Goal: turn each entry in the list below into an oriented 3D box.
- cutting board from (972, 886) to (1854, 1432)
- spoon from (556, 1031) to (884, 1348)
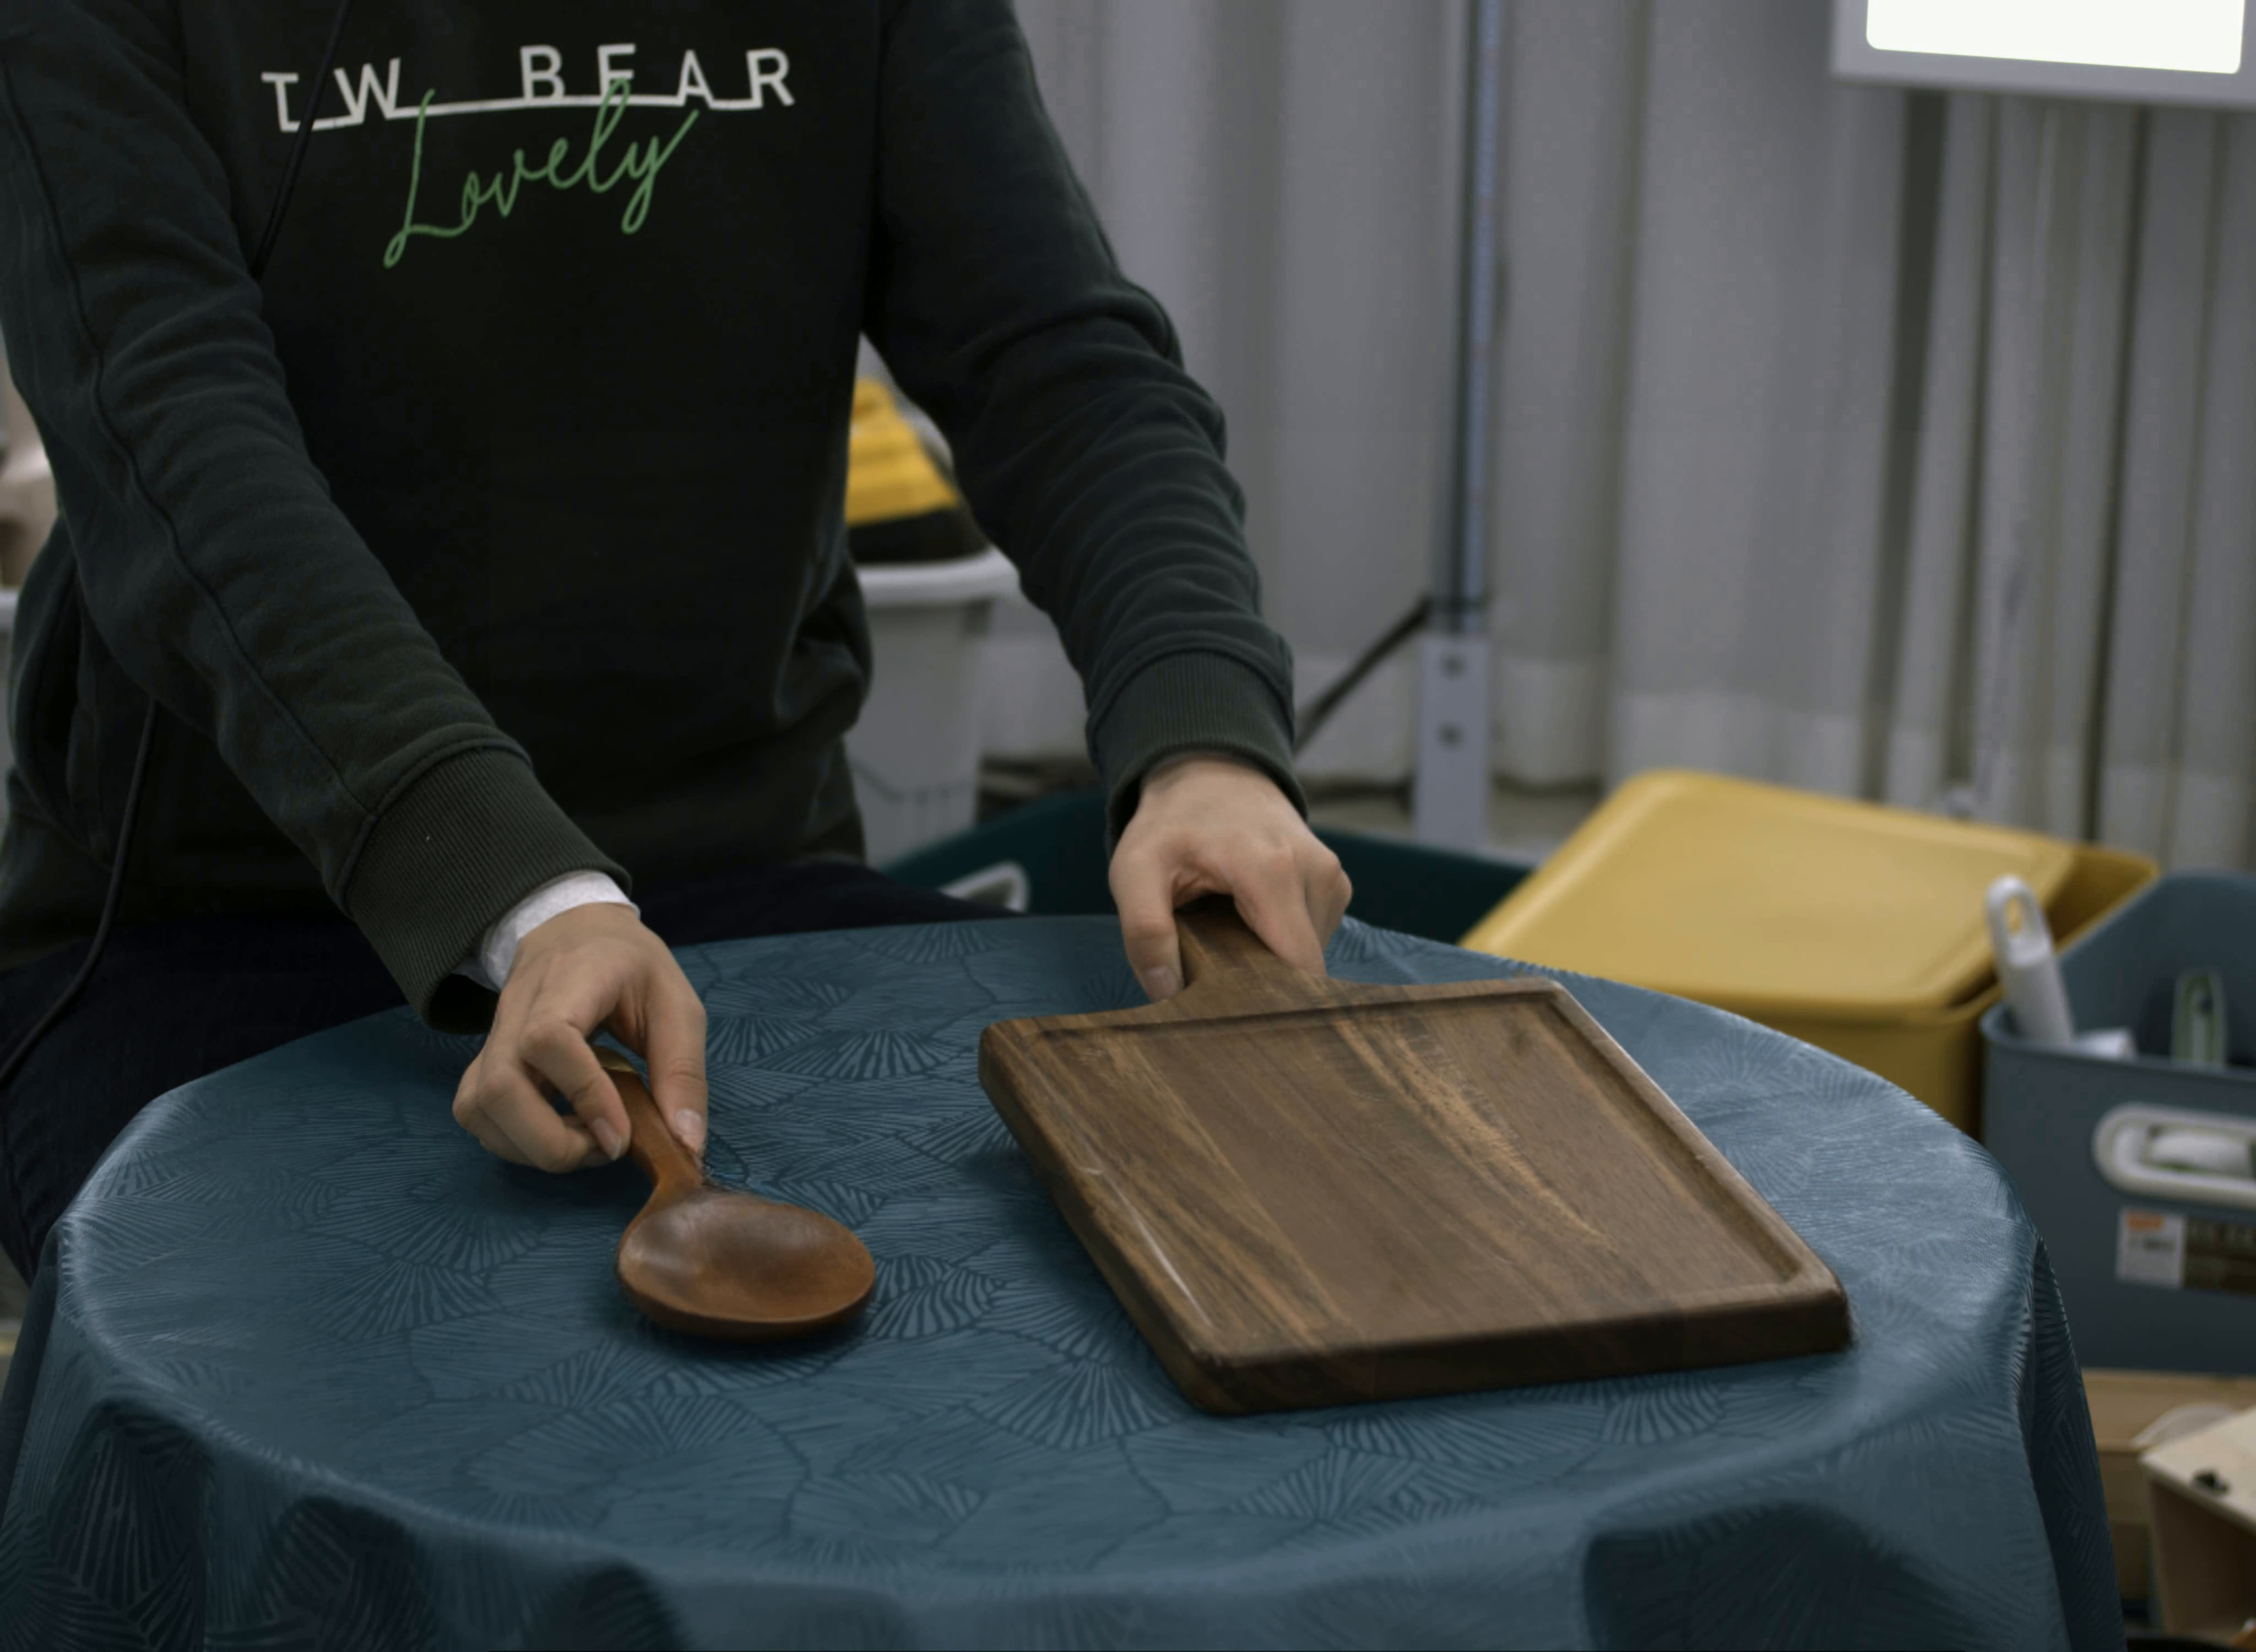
[{"bbox_3d":[0.065,0.090,1.622,0.201,0.023,0.348,-5,22,-16],"label":"cutting board"},{"bbox_3d":[-0.132,0.109,1.575,0.075,0.017,0.213,-7,24,-20],"label":"spoon"}]
